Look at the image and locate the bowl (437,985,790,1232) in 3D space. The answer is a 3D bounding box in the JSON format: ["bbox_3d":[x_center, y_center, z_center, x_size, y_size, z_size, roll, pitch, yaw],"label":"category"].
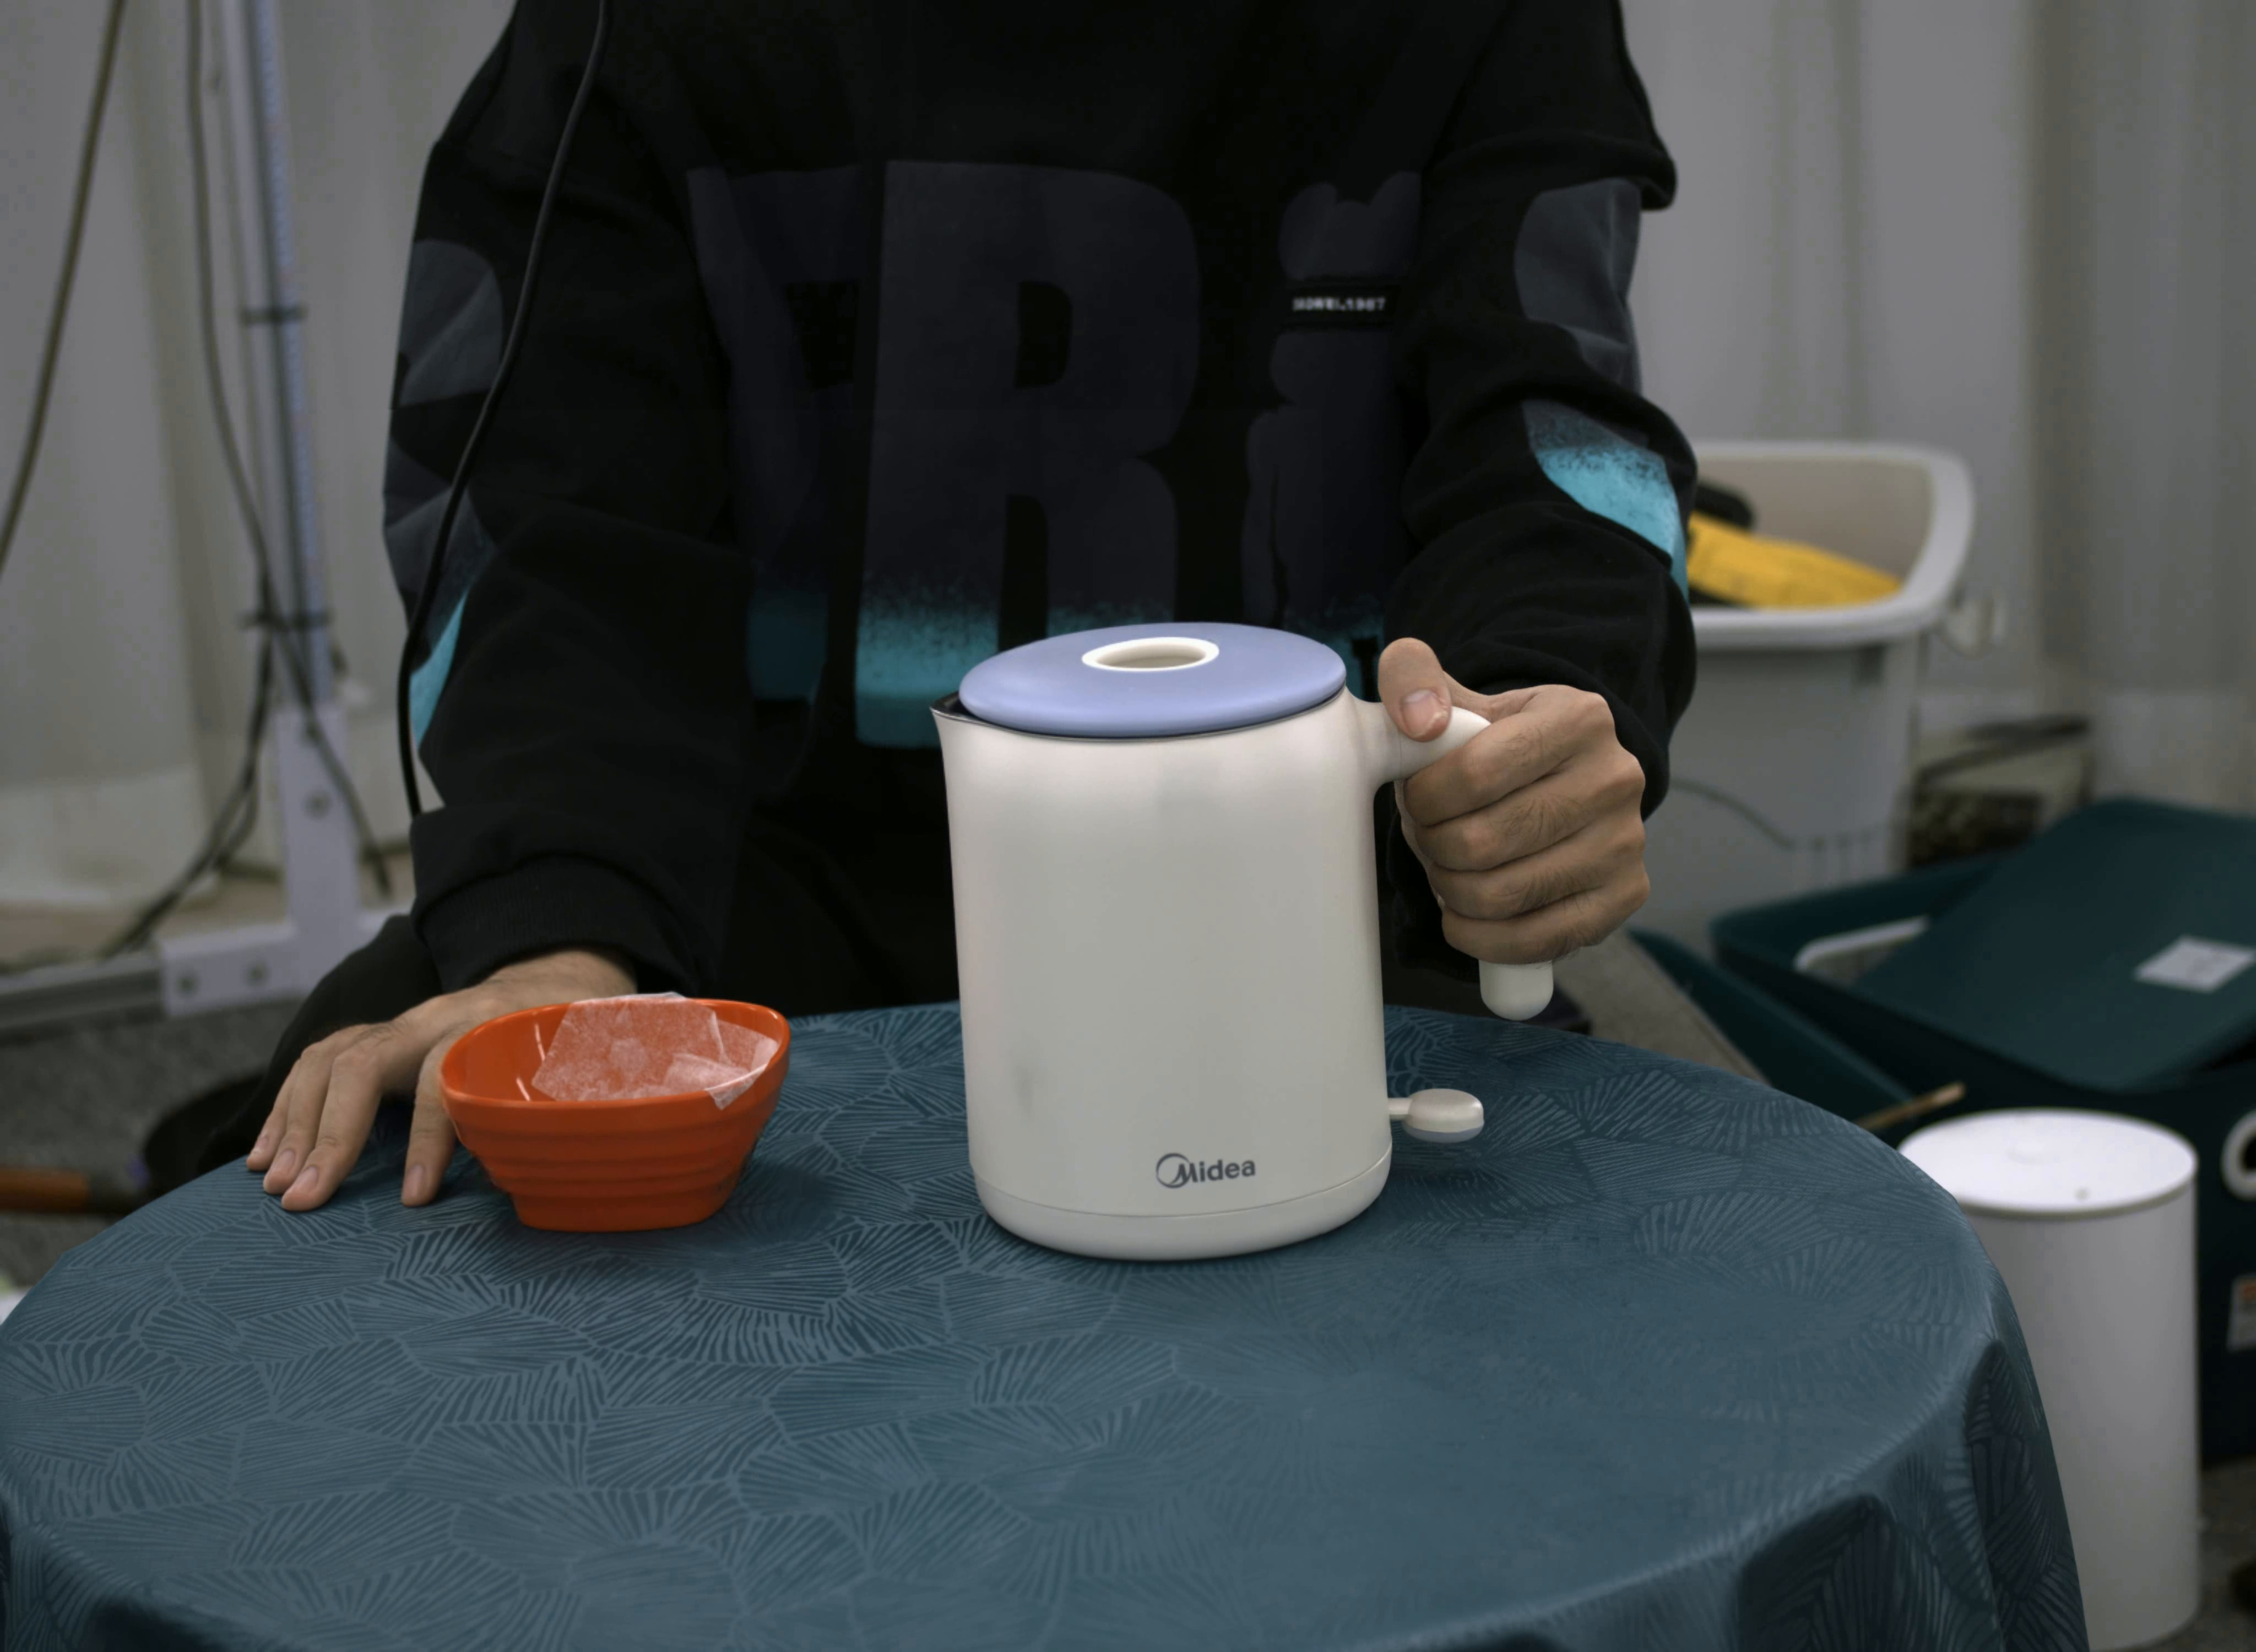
[{"bbox_3d":[-0.159,0.092,1.727,0.118,0.051,0.120,-5,17,1],"label":"bowl"}]

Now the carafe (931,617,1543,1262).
[{"bbox_3d":[0.035,0.032,1.688,0.190,0.182,0.133,-3,15,-8],"label":"carafe"}]
